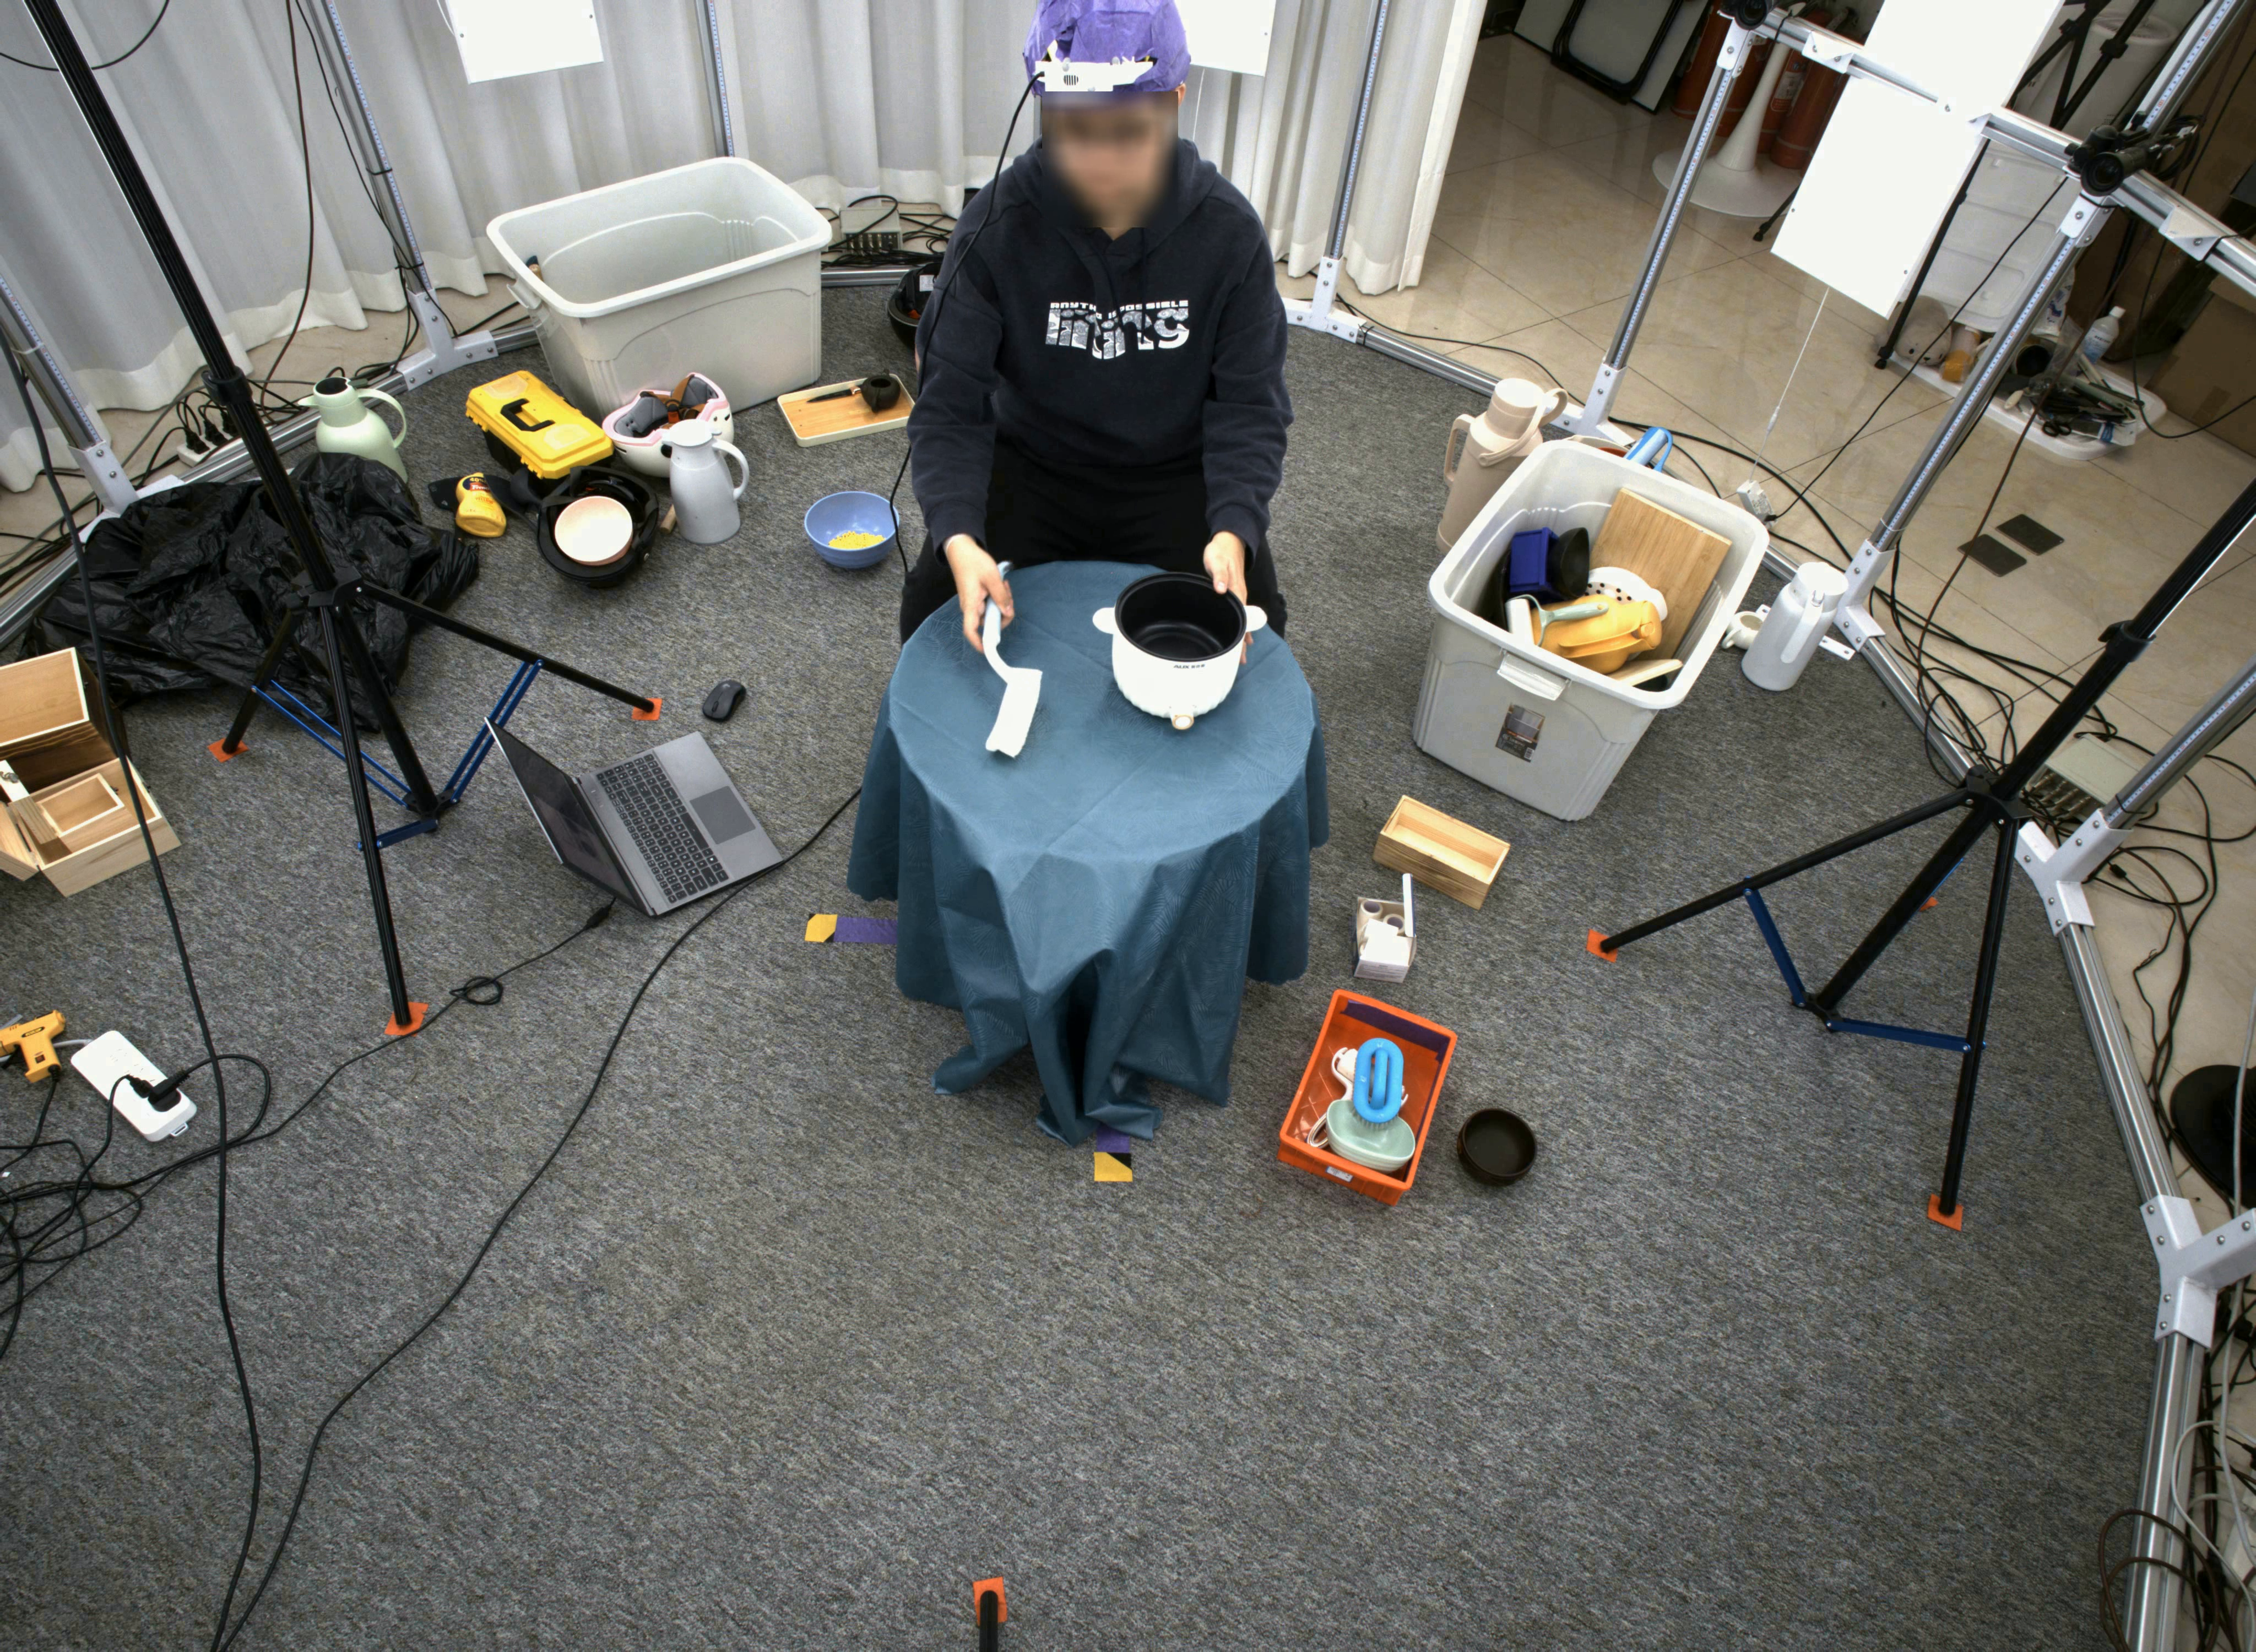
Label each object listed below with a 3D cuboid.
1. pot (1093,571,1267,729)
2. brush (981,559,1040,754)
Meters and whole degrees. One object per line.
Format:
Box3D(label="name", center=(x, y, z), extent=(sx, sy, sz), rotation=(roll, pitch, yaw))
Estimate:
Box3D(label="pot", center=(0.070, -0.242, 1.791), extent=(0.240, 0.139, 0.195), rotation=(-3, 46, -6))
Box3D(label="brush", center=(-0.153, -0.244, 1.794), extent=(0.083, 0.082, 0.333), rotation=(26, 50, -36))
